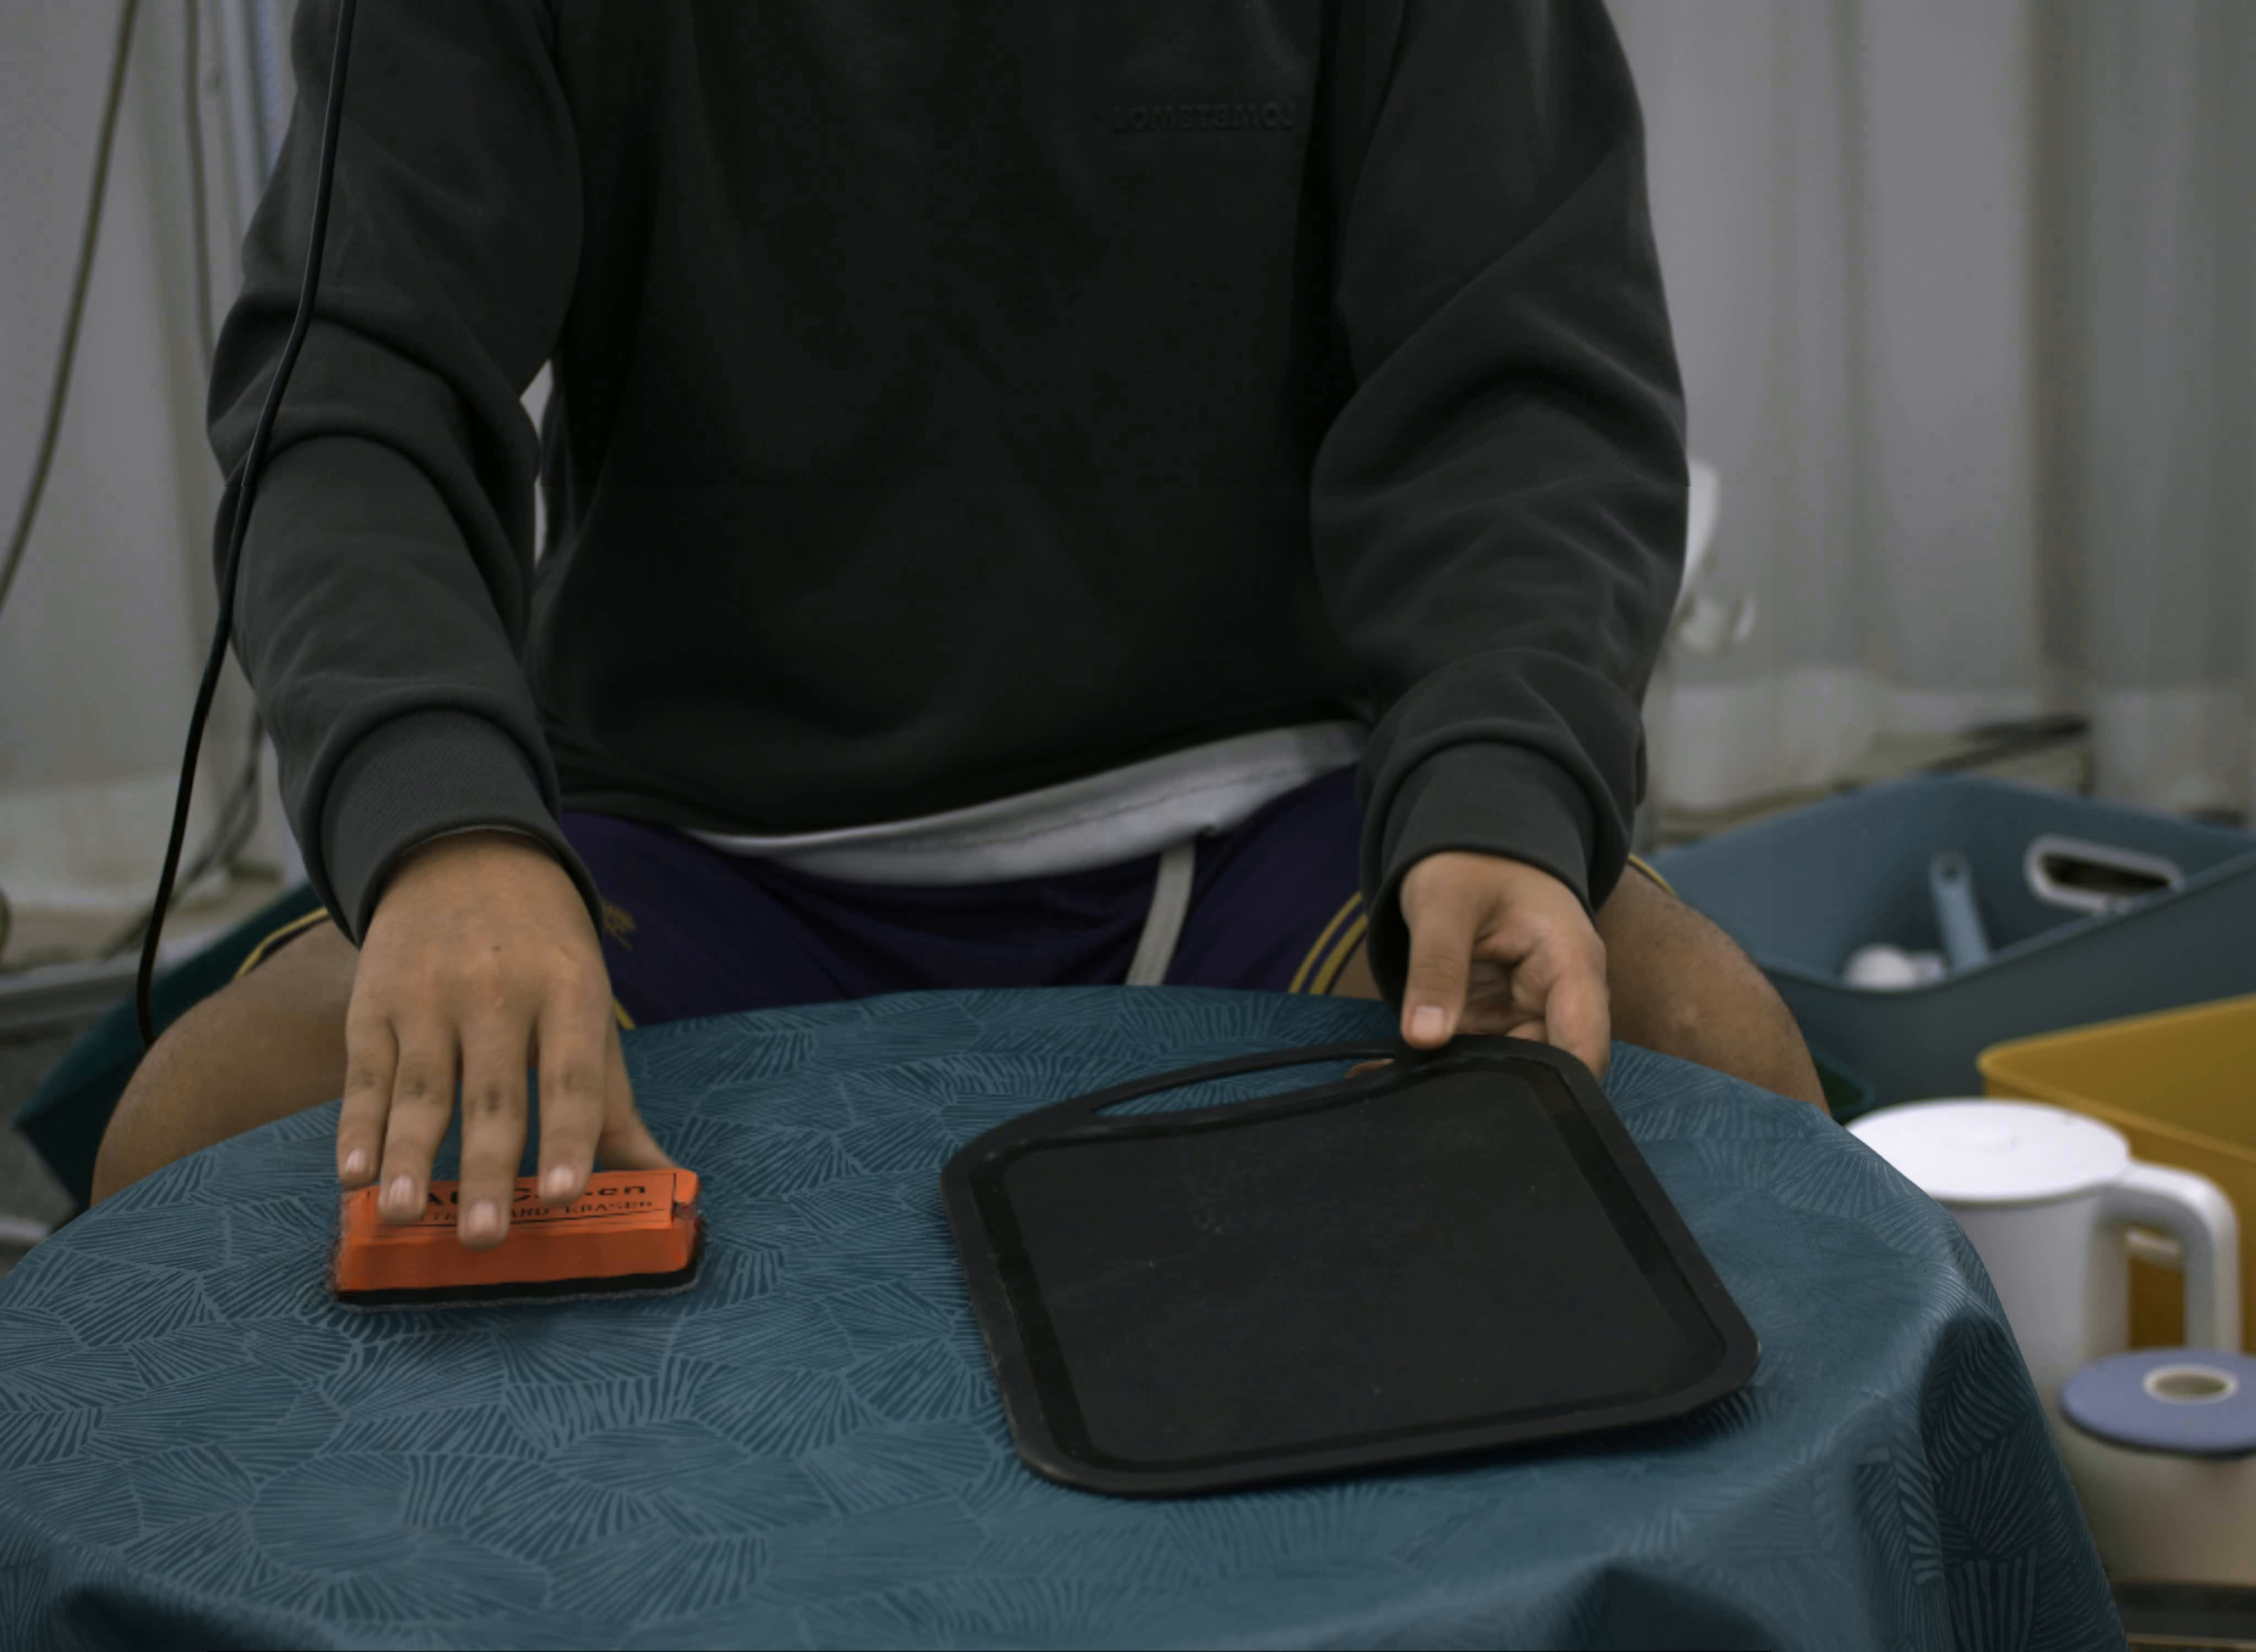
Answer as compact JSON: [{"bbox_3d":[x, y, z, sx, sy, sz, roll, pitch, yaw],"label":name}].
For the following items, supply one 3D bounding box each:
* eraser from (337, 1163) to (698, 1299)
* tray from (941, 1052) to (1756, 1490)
[{"bbox_3d":[-0.185,0.123,1.664,0.107,0.023,0.059,-2,15,-2],"label":"eraser"},{"bbox_3d":[0.056,0.124,1.623,0.210,0.010,0.328,-8,17,-5],"label":"tray"}]
